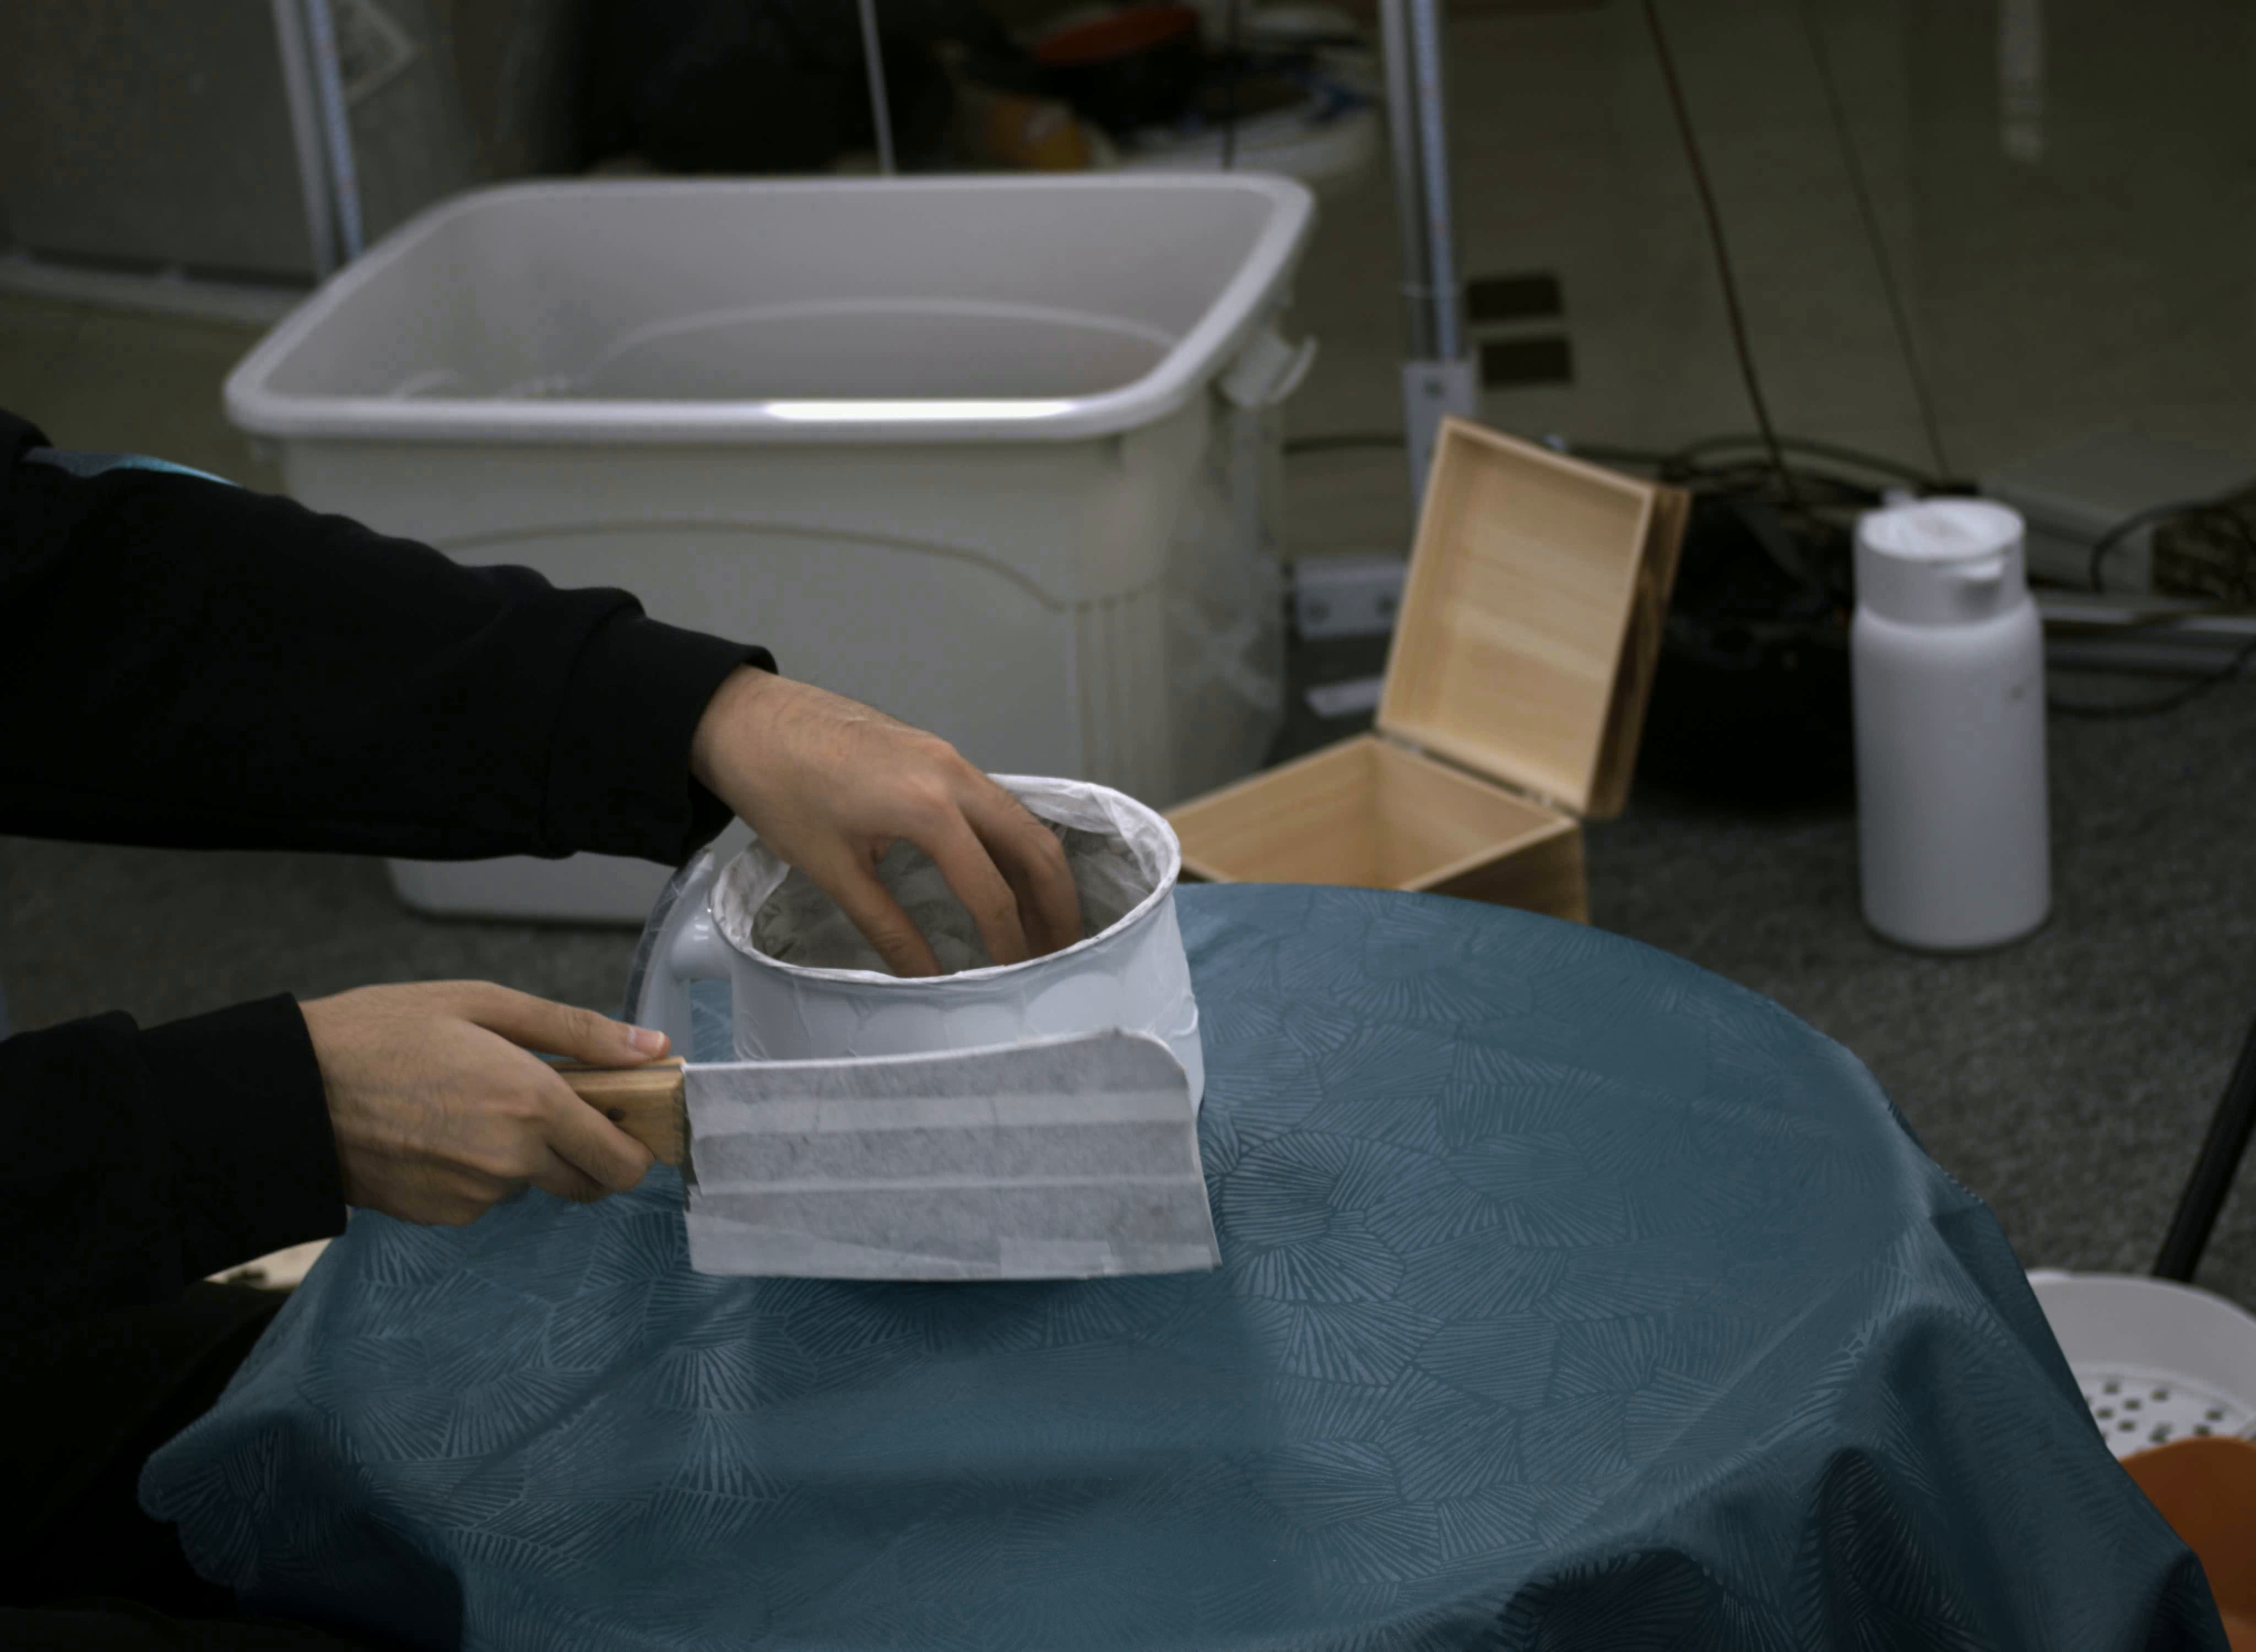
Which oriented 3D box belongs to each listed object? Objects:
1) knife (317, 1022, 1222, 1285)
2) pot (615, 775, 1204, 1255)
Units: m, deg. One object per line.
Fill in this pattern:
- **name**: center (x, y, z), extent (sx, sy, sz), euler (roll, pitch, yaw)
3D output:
- **knife**: center (-0.124, 0.112, 1.957), extent (0.315, 0.116, 0.021), euler (2, 32, 5)
- **pot**: center (-0.088, 0.074, 2.143), extent (0.233, 0.139, 0.176), euler (3, 26, 18)
